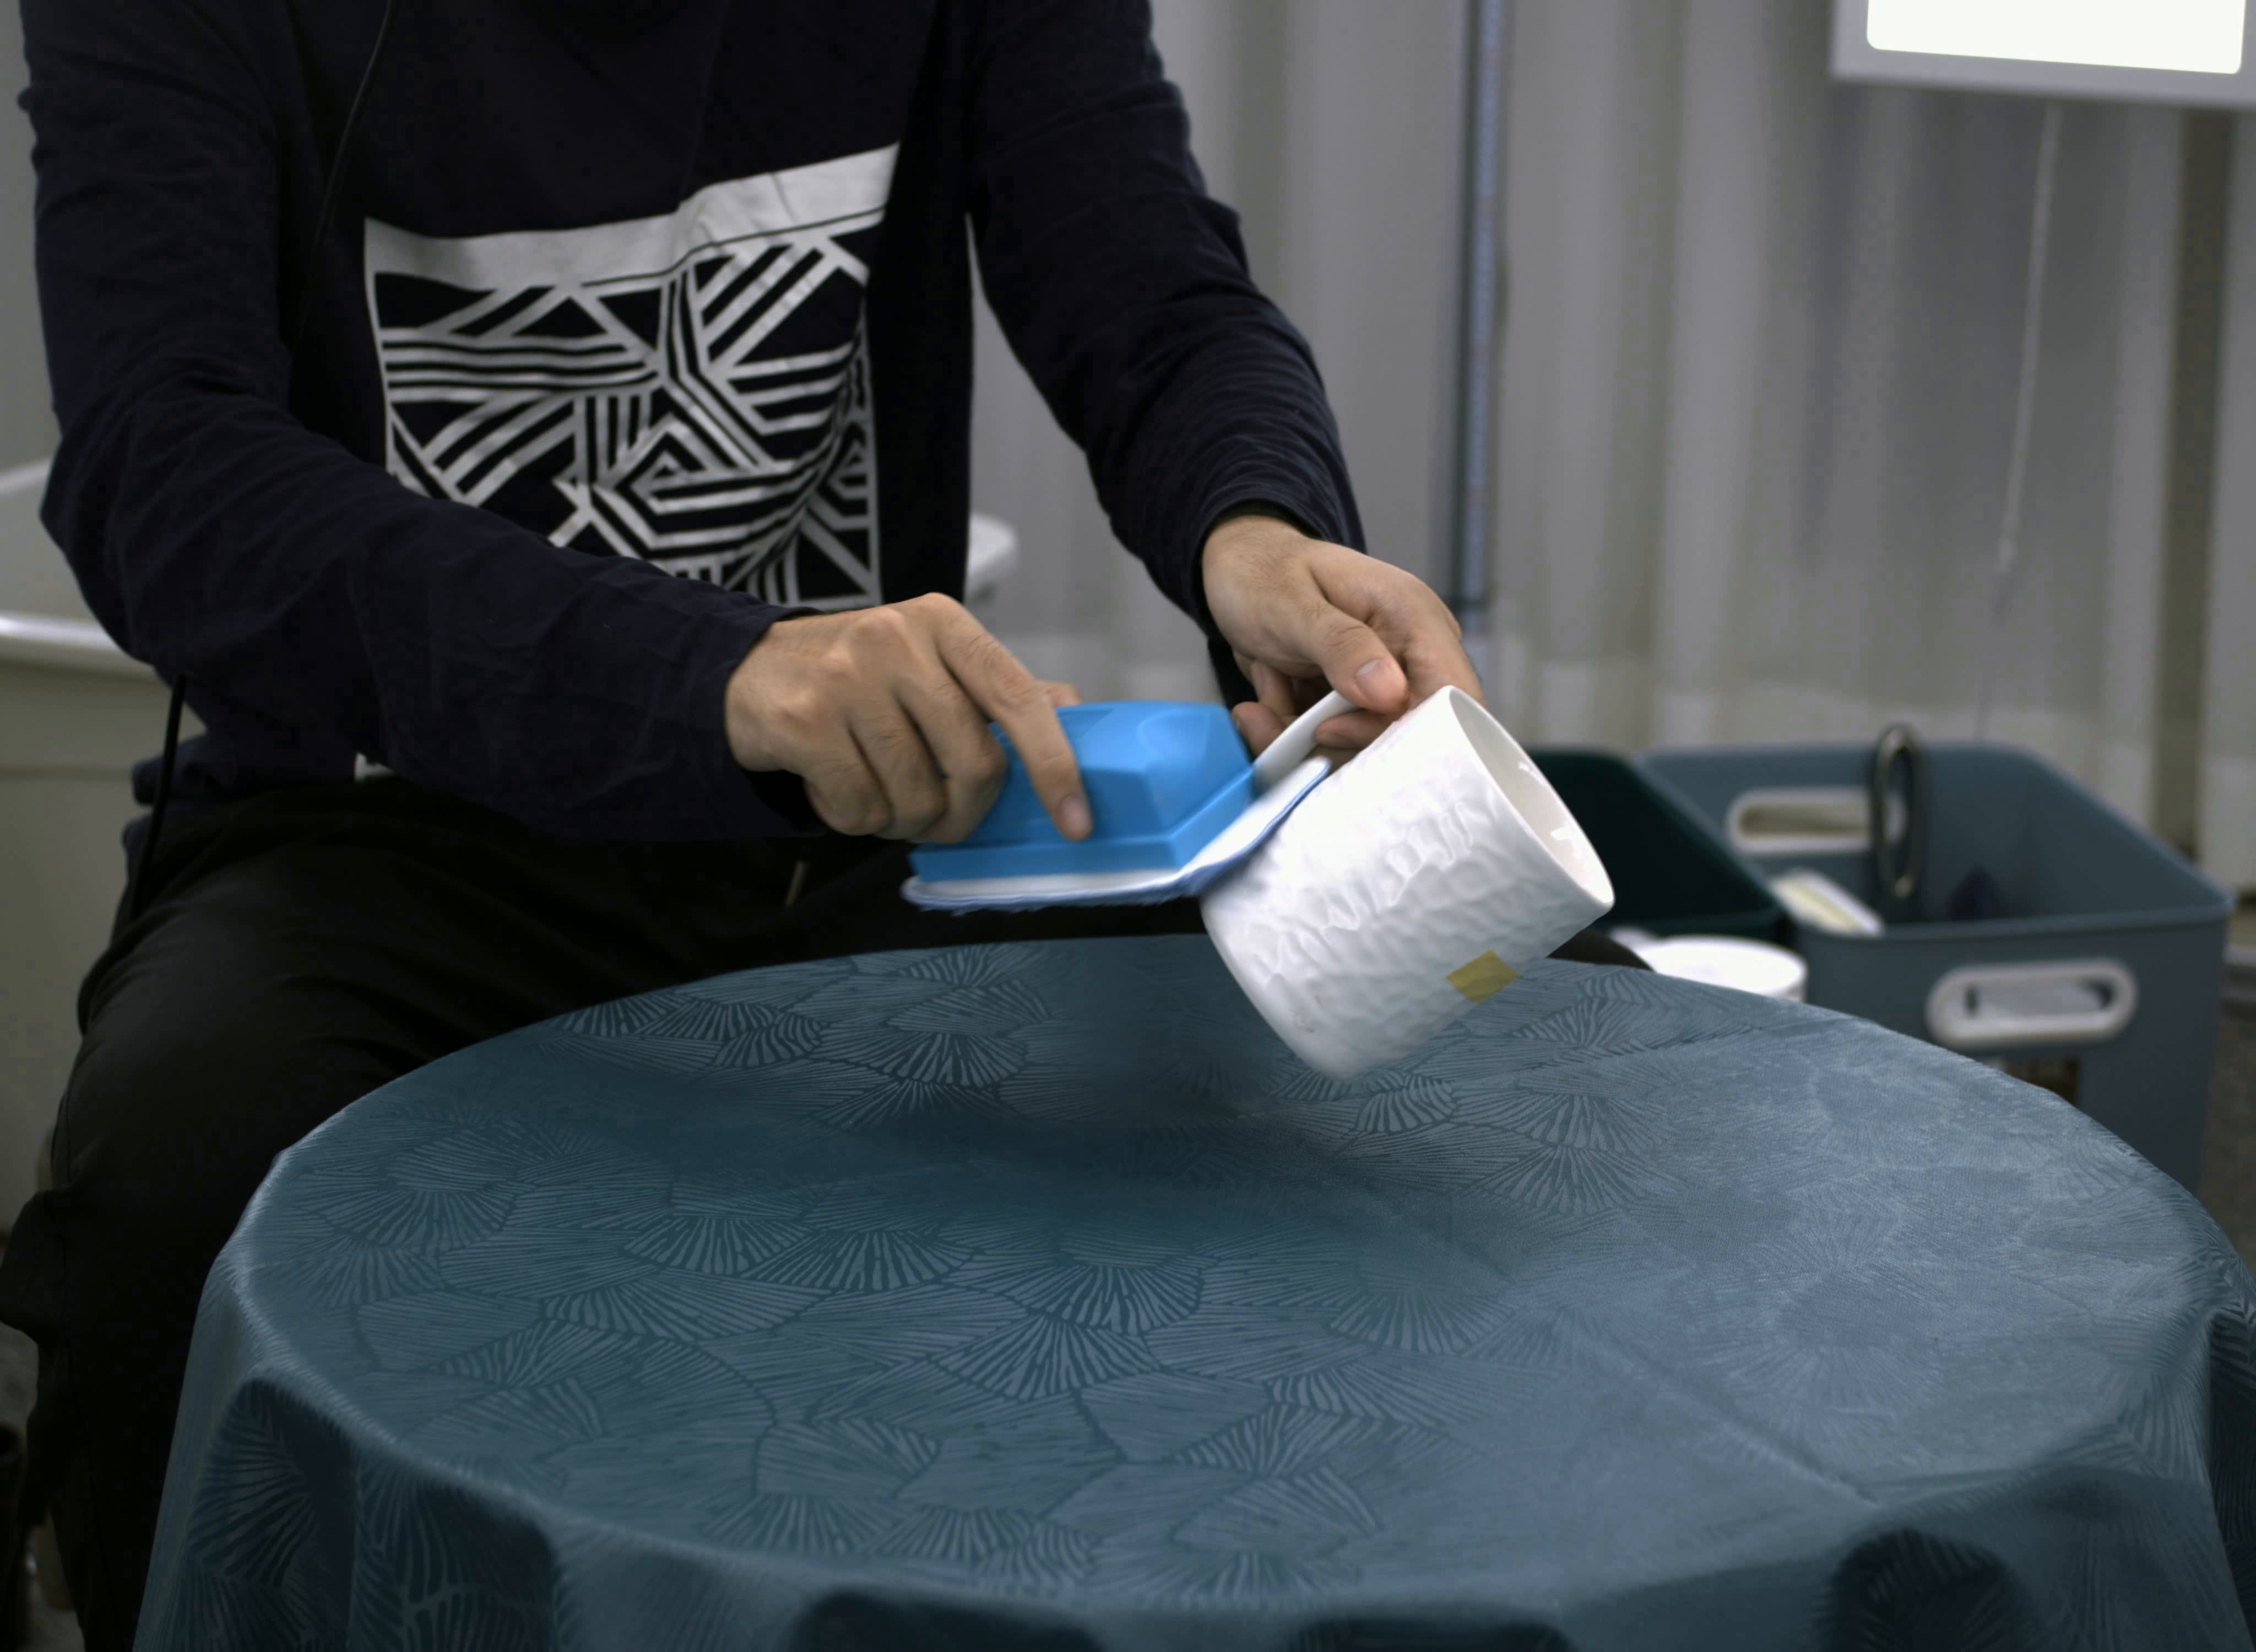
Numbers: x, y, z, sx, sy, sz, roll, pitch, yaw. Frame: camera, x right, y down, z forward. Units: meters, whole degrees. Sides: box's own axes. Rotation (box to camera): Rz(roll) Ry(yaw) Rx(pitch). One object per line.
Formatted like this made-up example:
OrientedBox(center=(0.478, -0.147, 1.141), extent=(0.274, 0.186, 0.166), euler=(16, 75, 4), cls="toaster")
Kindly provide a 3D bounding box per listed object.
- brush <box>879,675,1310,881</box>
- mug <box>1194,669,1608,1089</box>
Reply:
OrientedBox(center=(-0.015, -0.017, 1.661), extent=(0.142, 0.056, 0.084), euler=(0, 27, 47), cls="brush")
OrientedBox(center=(0.077, 0.009, 1.640), extent=(0.086, 0.102, 0.117), euler=(35, 21, -53), cls="mug")
